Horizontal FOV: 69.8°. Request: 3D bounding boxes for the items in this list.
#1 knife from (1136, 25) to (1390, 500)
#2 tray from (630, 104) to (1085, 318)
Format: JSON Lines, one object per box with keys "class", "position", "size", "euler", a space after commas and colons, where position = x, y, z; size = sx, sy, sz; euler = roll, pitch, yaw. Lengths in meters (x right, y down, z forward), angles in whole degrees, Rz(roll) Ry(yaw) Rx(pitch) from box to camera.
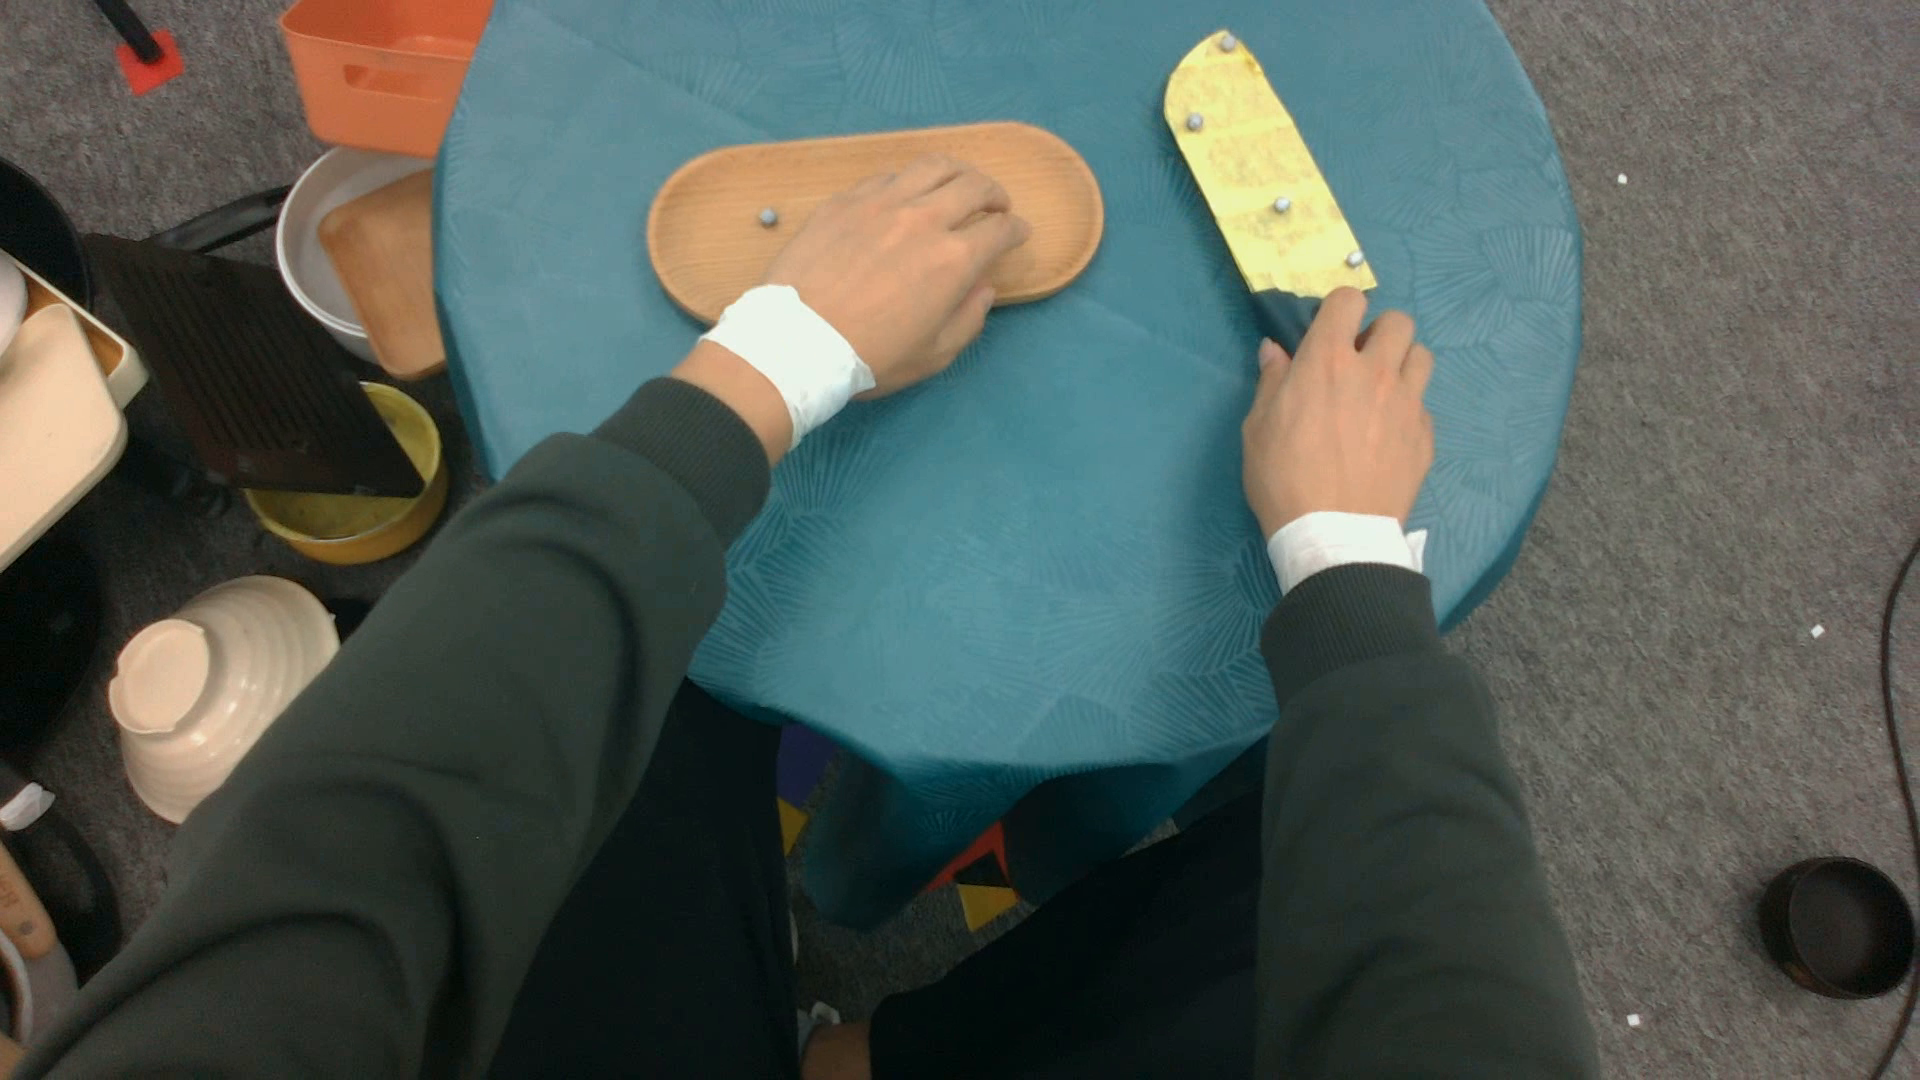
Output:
{"class": "knife", "position": [0.164, -0.154, 0.718], "size": [0.081, 0.027, 0.290], "euler": [-13, 72, -20]}
{"class": "tray", "position": [-0.050, -0.168, 0.700], "size": [0.231, 0.020, 0.102], "euler": [-9, 75, -11]}
